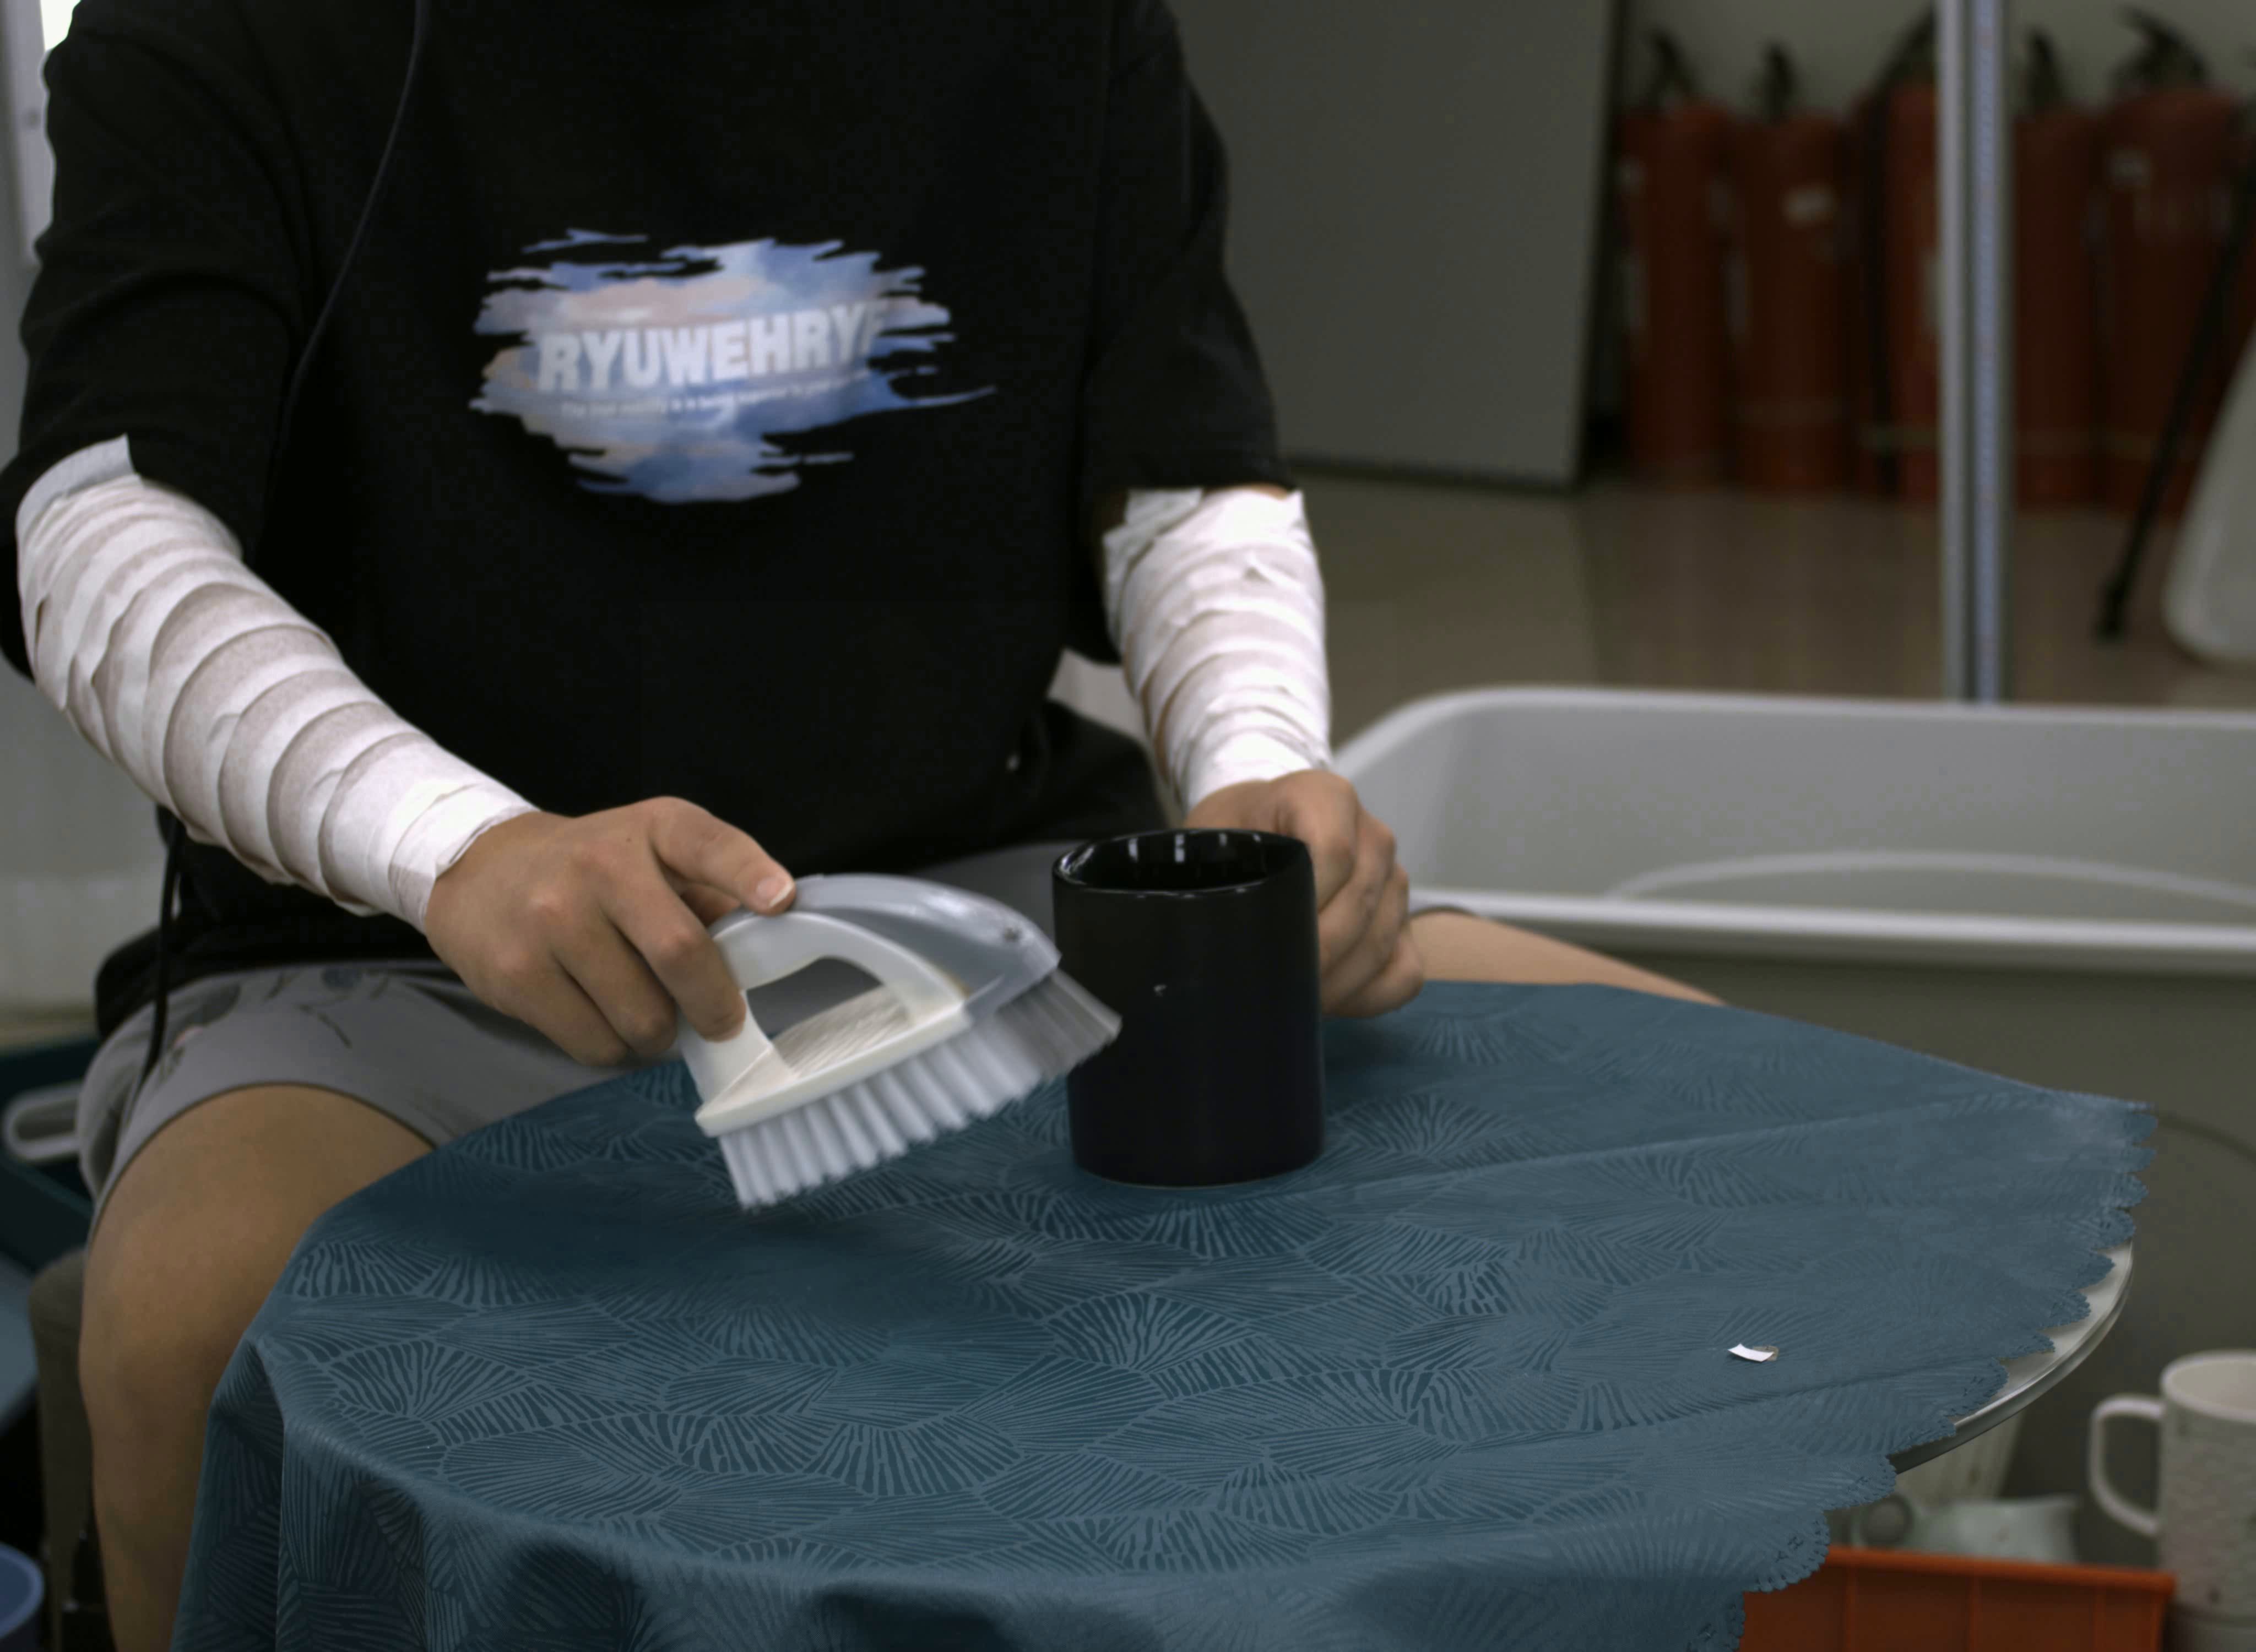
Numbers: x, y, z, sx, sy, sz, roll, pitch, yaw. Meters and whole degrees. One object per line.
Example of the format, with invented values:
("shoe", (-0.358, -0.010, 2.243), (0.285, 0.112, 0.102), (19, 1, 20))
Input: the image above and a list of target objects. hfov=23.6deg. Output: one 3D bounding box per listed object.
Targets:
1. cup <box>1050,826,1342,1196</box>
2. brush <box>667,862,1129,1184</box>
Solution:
("cup", (0.030, 0.057, 1.813), (0.089, 0.106, 0.122), (-2, 12, 26))
("brush", (-0.080, 0.049, 1.703), (0.177, 0.094, 0.061), (-21, 22, 46))
